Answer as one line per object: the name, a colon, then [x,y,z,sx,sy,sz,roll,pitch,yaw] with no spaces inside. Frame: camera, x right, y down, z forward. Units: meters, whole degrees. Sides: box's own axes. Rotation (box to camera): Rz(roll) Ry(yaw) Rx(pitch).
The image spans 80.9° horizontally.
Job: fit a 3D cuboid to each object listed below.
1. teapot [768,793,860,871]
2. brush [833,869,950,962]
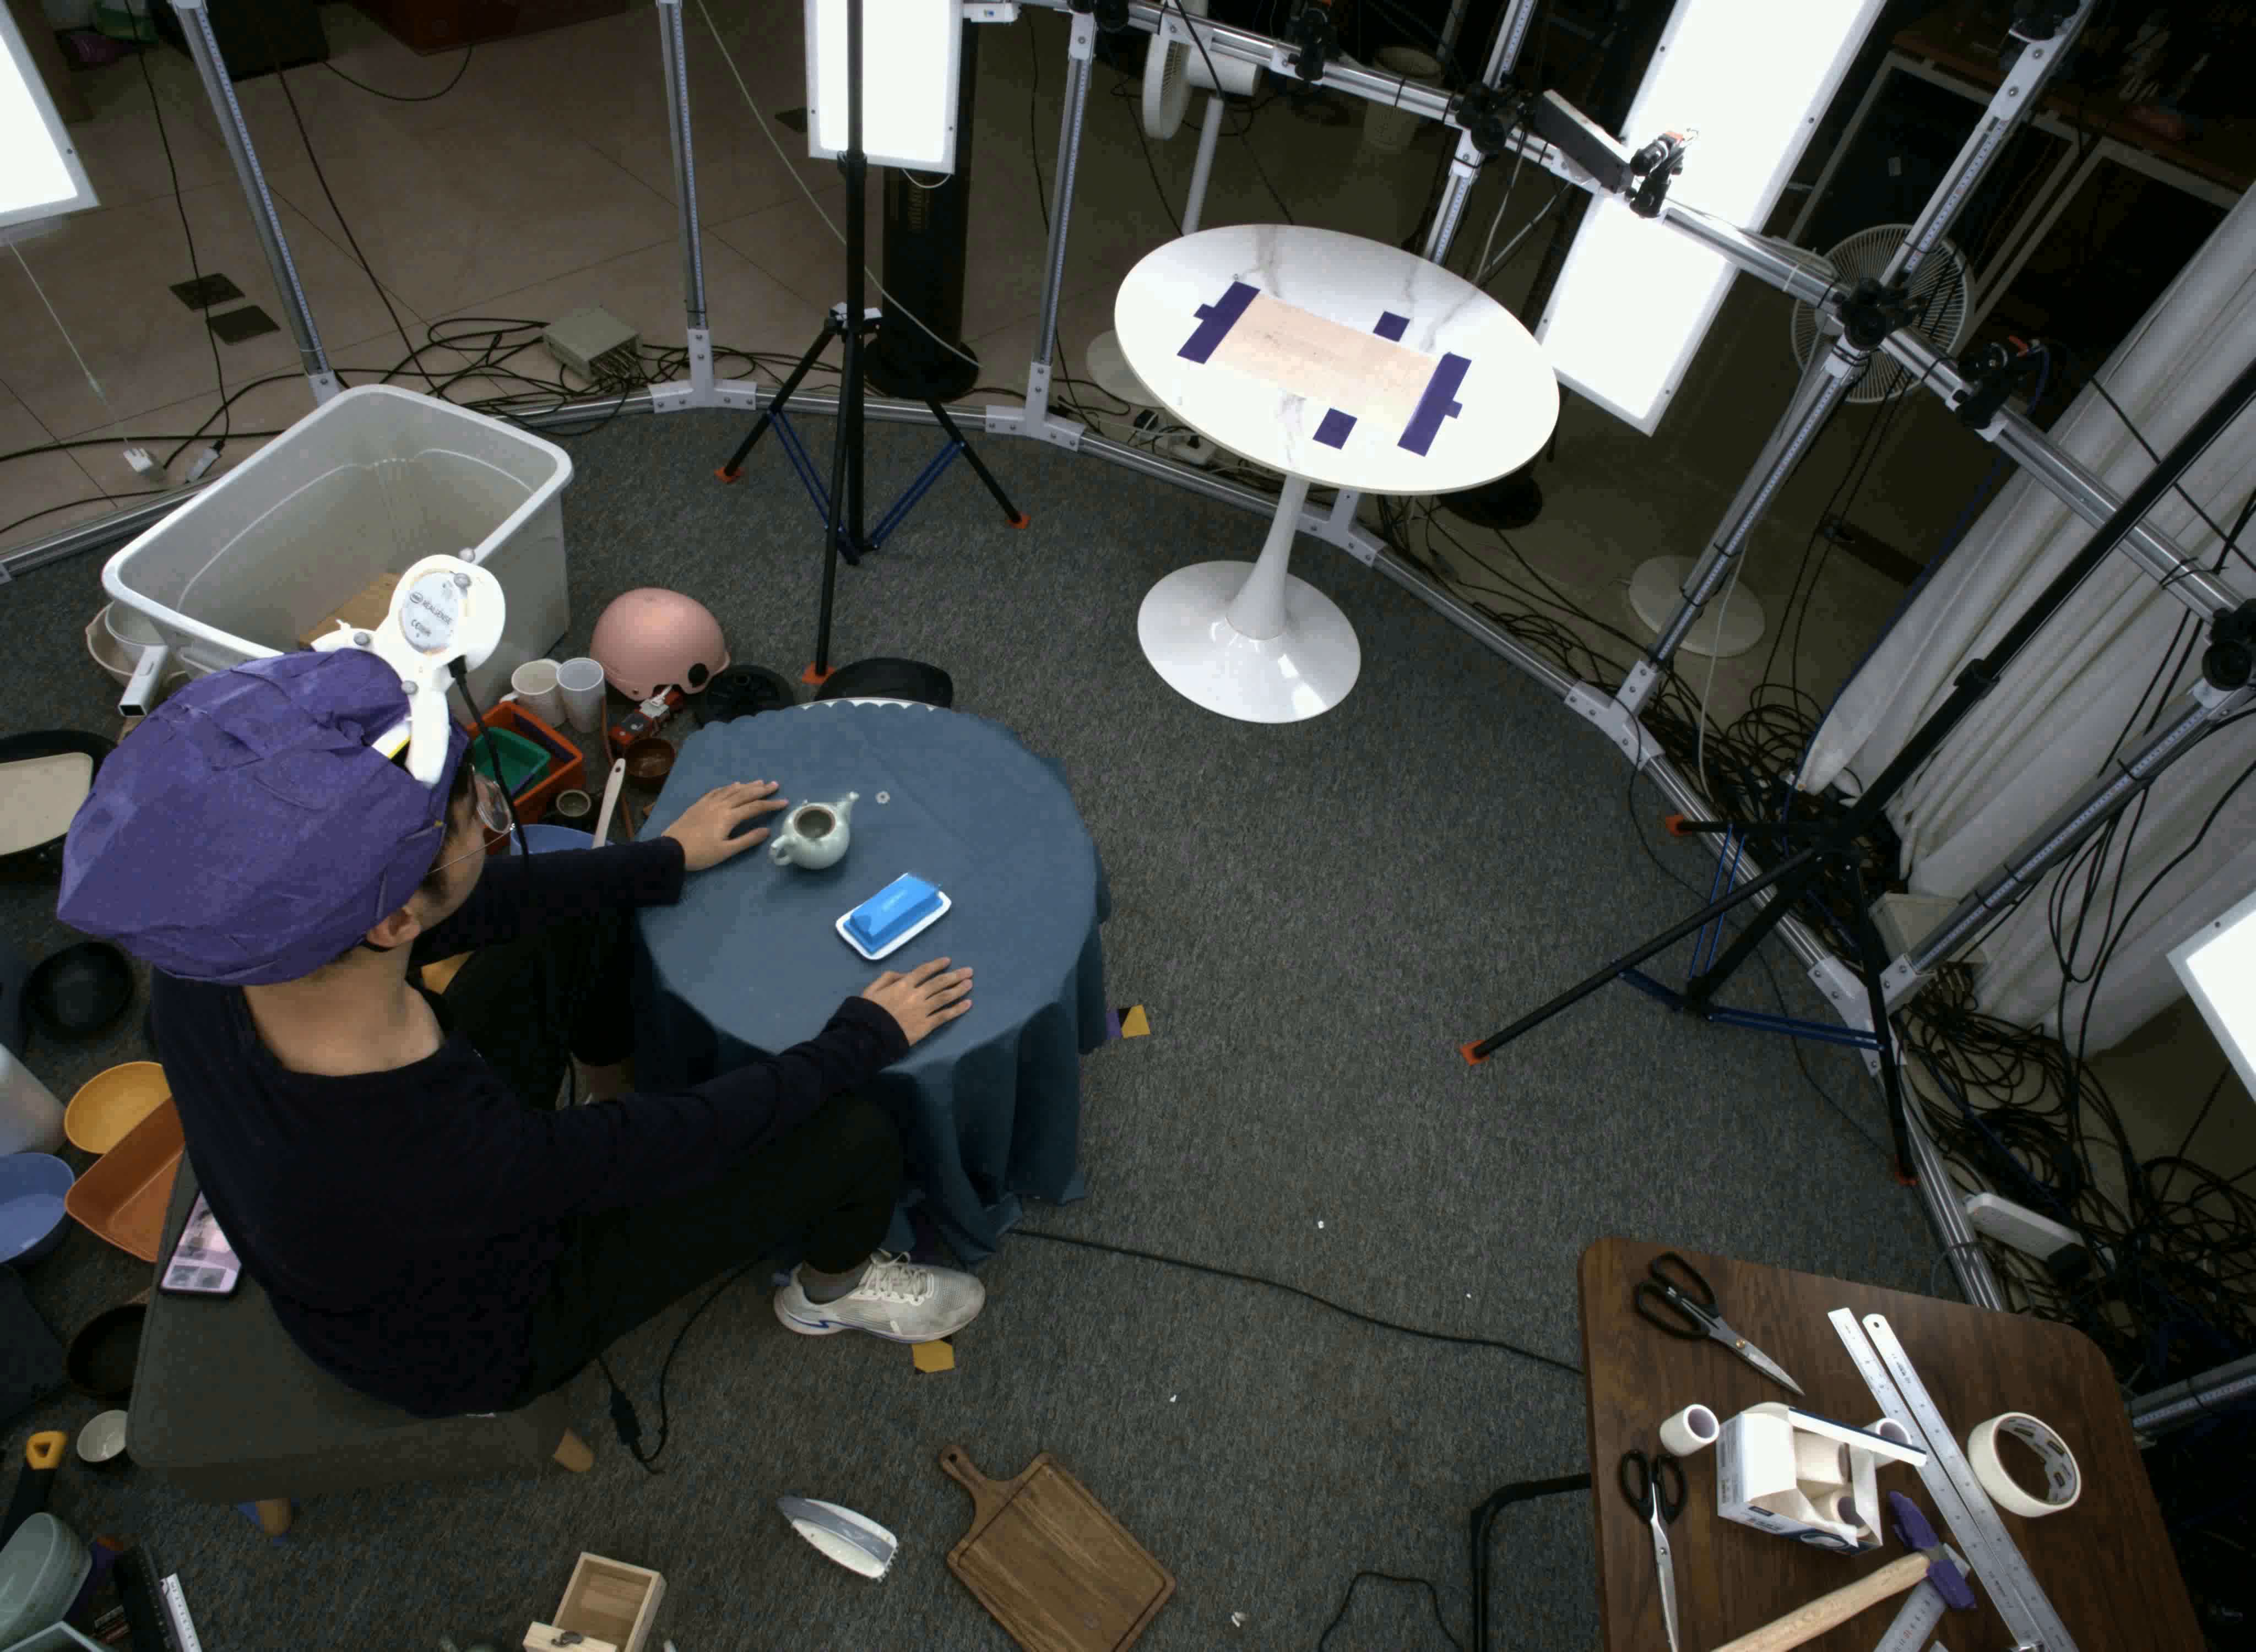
teapot: [-0.404,0.012,1.674,0.086,0.076,0.144,42,53,19]
brush: [-0.298,0.104,1.640,0.081,0.057,0.144,40,52,21]
